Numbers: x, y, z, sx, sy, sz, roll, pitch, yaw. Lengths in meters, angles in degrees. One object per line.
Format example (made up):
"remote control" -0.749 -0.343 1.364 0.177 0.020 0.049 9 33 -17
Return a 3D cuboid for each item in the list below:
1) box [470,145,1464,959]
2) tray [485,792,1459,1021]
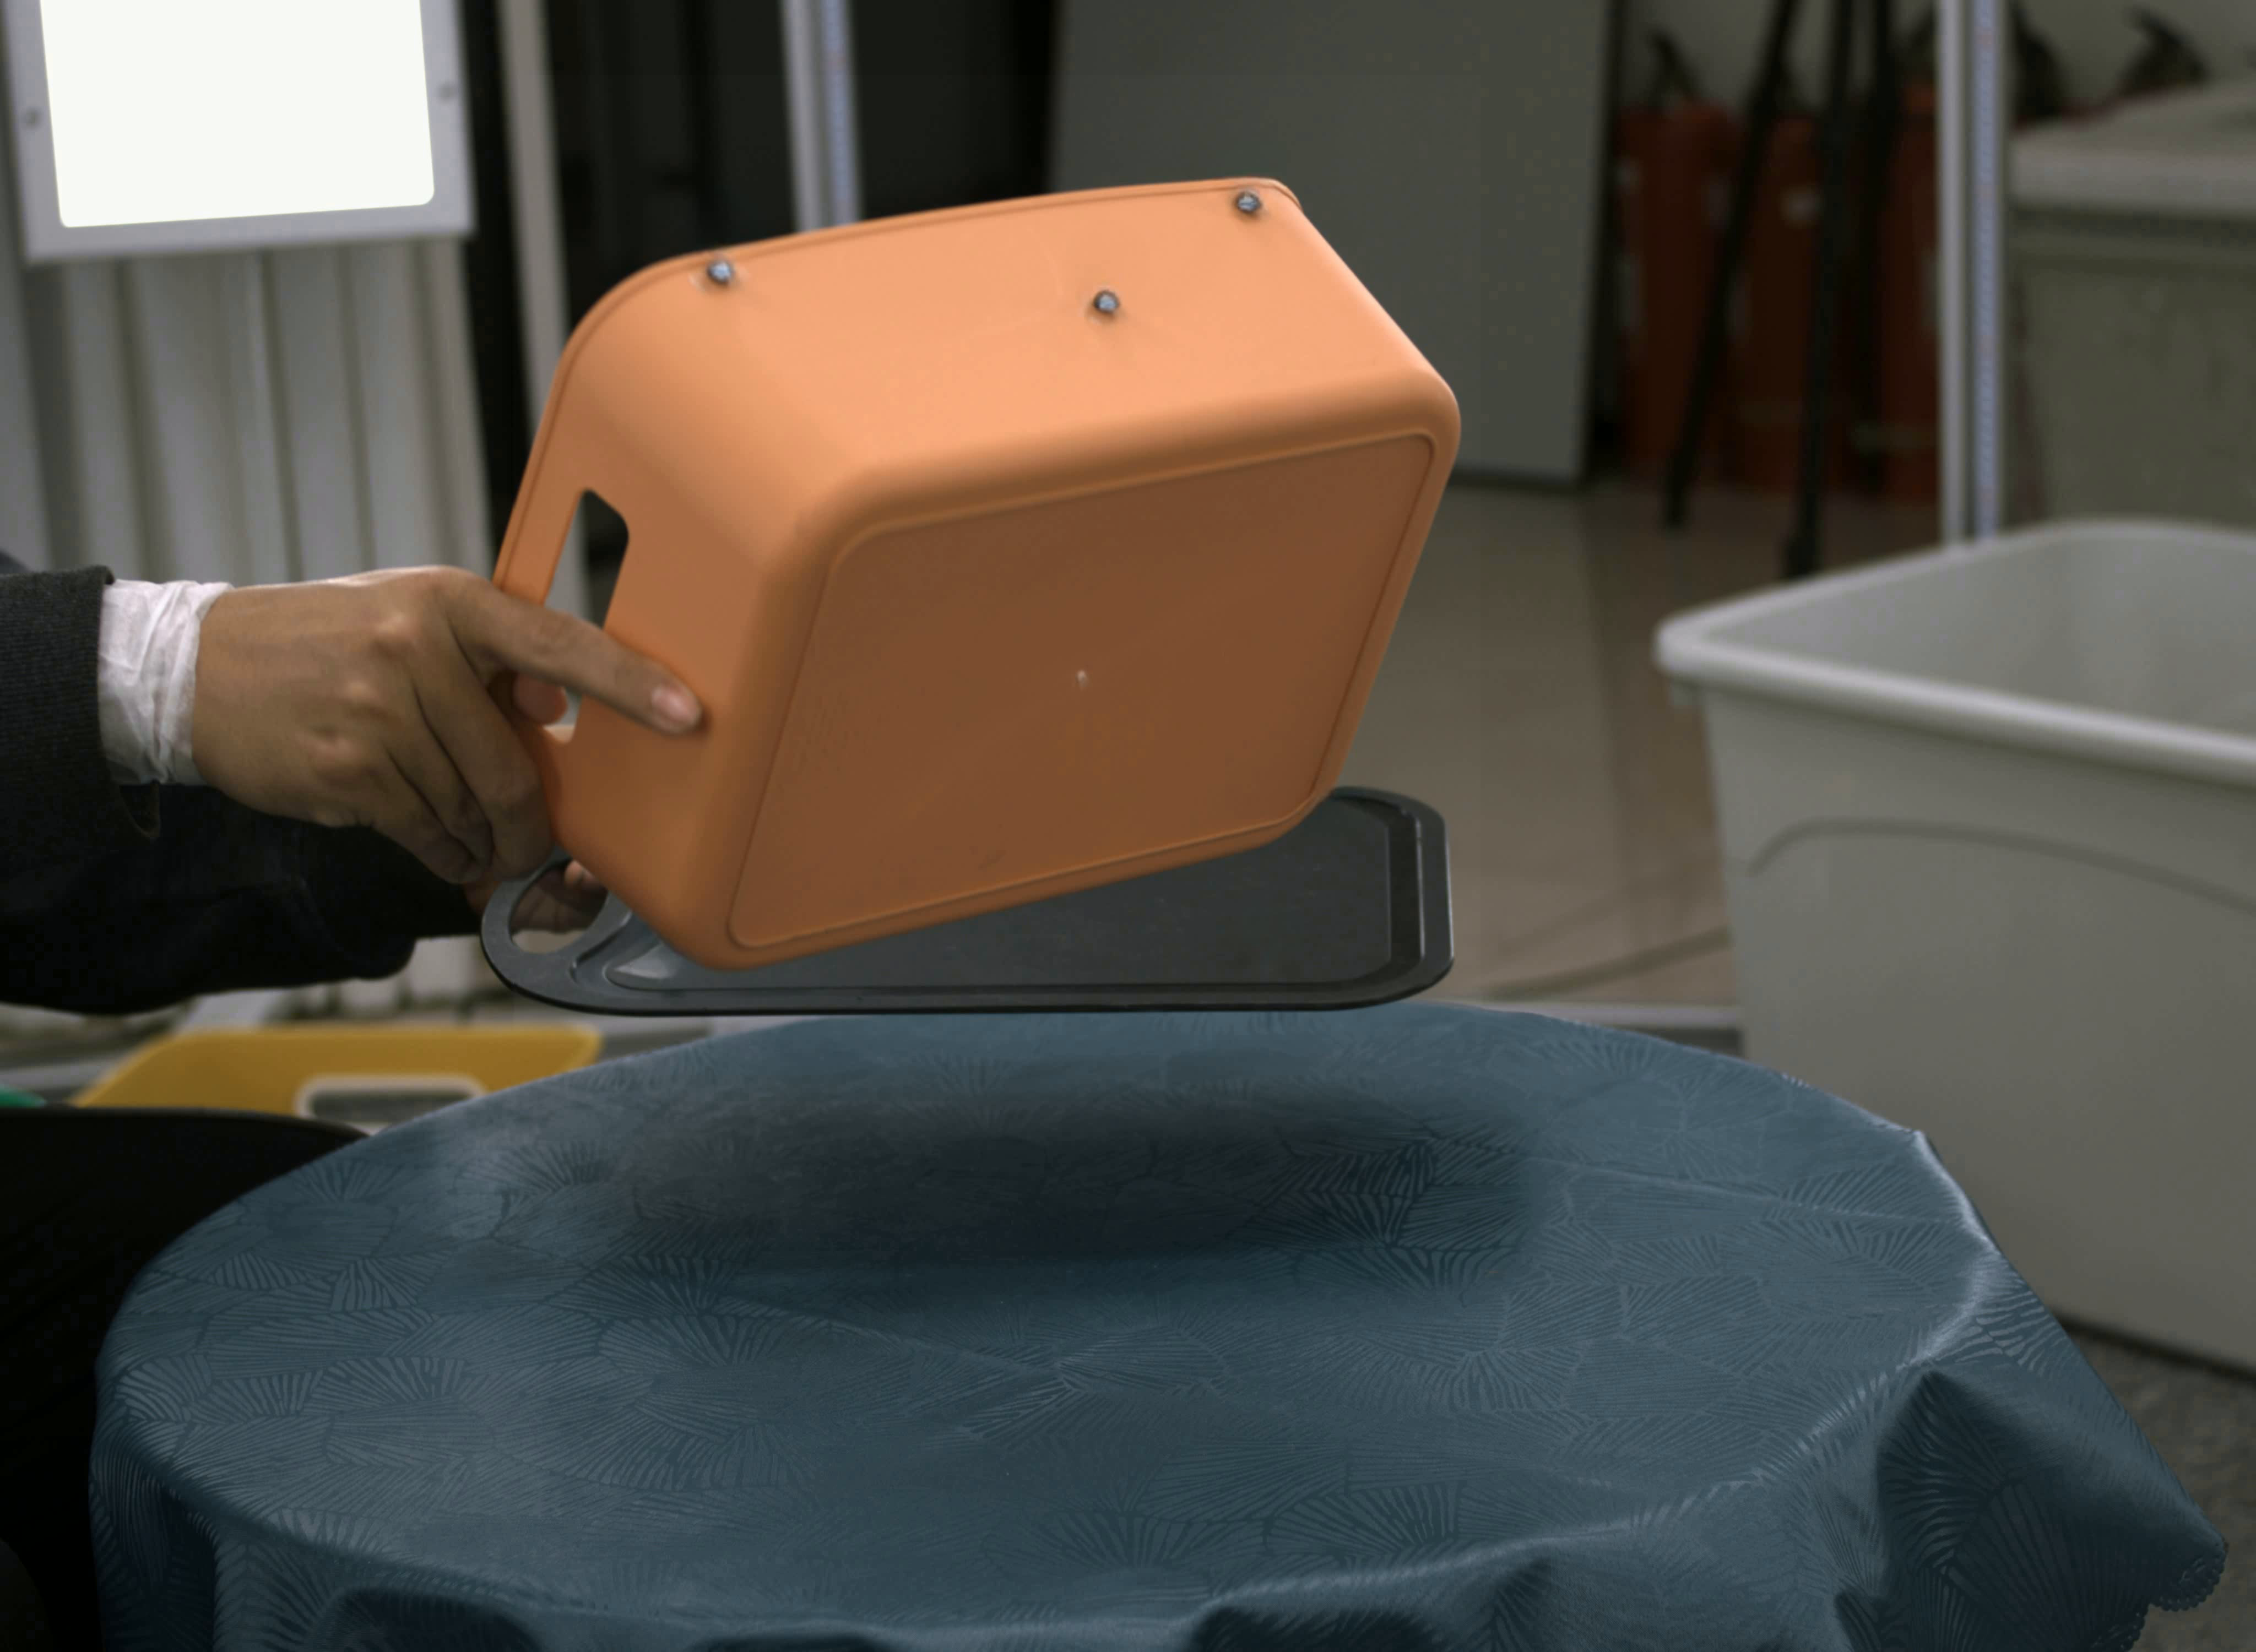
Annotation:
"box" -0.039 -0.073 1.526 0.267 0.201 0.104 -12 45 -37
"tray" -0.052 0.024 1.791 0.322 0.010 0.211 -1 19 4
